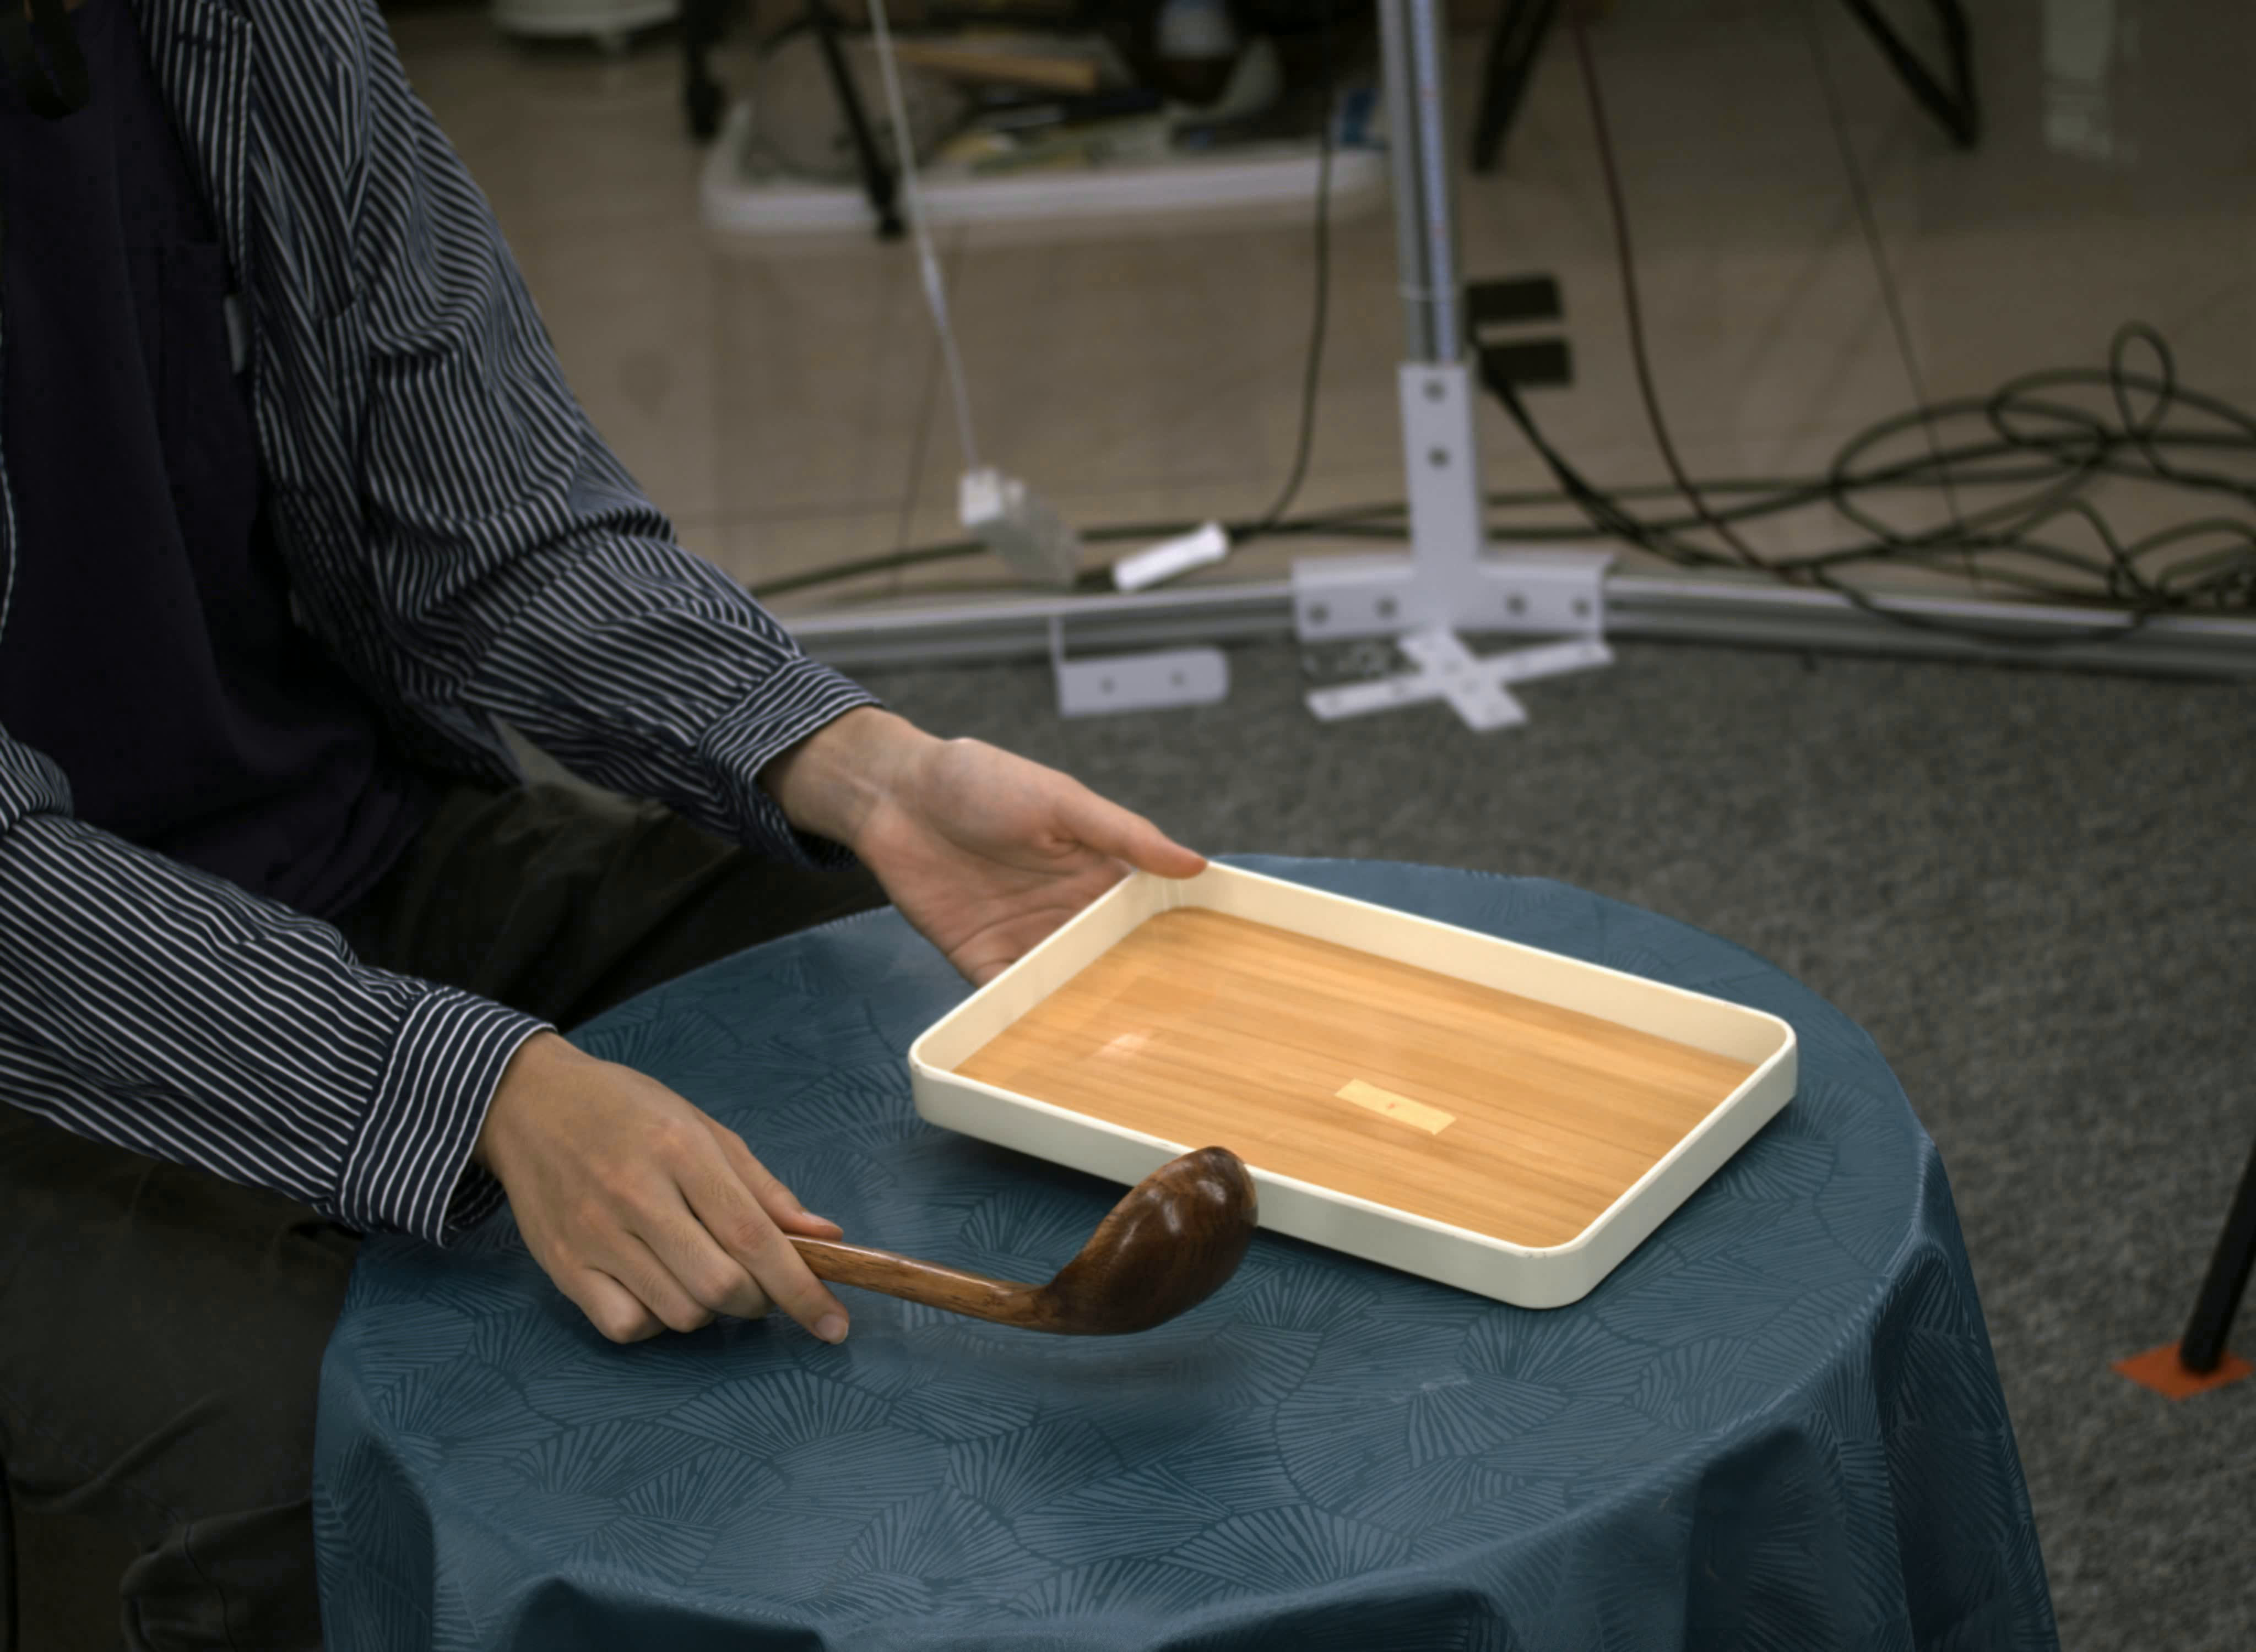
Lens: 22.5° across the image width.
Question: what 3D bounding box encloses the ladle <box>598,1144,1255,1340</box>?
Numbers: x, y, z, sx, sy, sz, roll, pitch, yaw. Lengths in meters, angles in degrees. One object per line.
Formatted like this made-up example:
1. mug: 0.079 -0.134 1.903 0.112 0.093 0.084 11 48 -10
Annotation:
1. ladle: -0.079 0.137 2.055 0.273 0.076 0.082 7 -2 33

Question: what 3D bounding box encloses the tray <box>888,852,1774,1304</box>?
1. tray: 0.077 0.092 2.172 0.298 0.028 0.189 16 35 32
